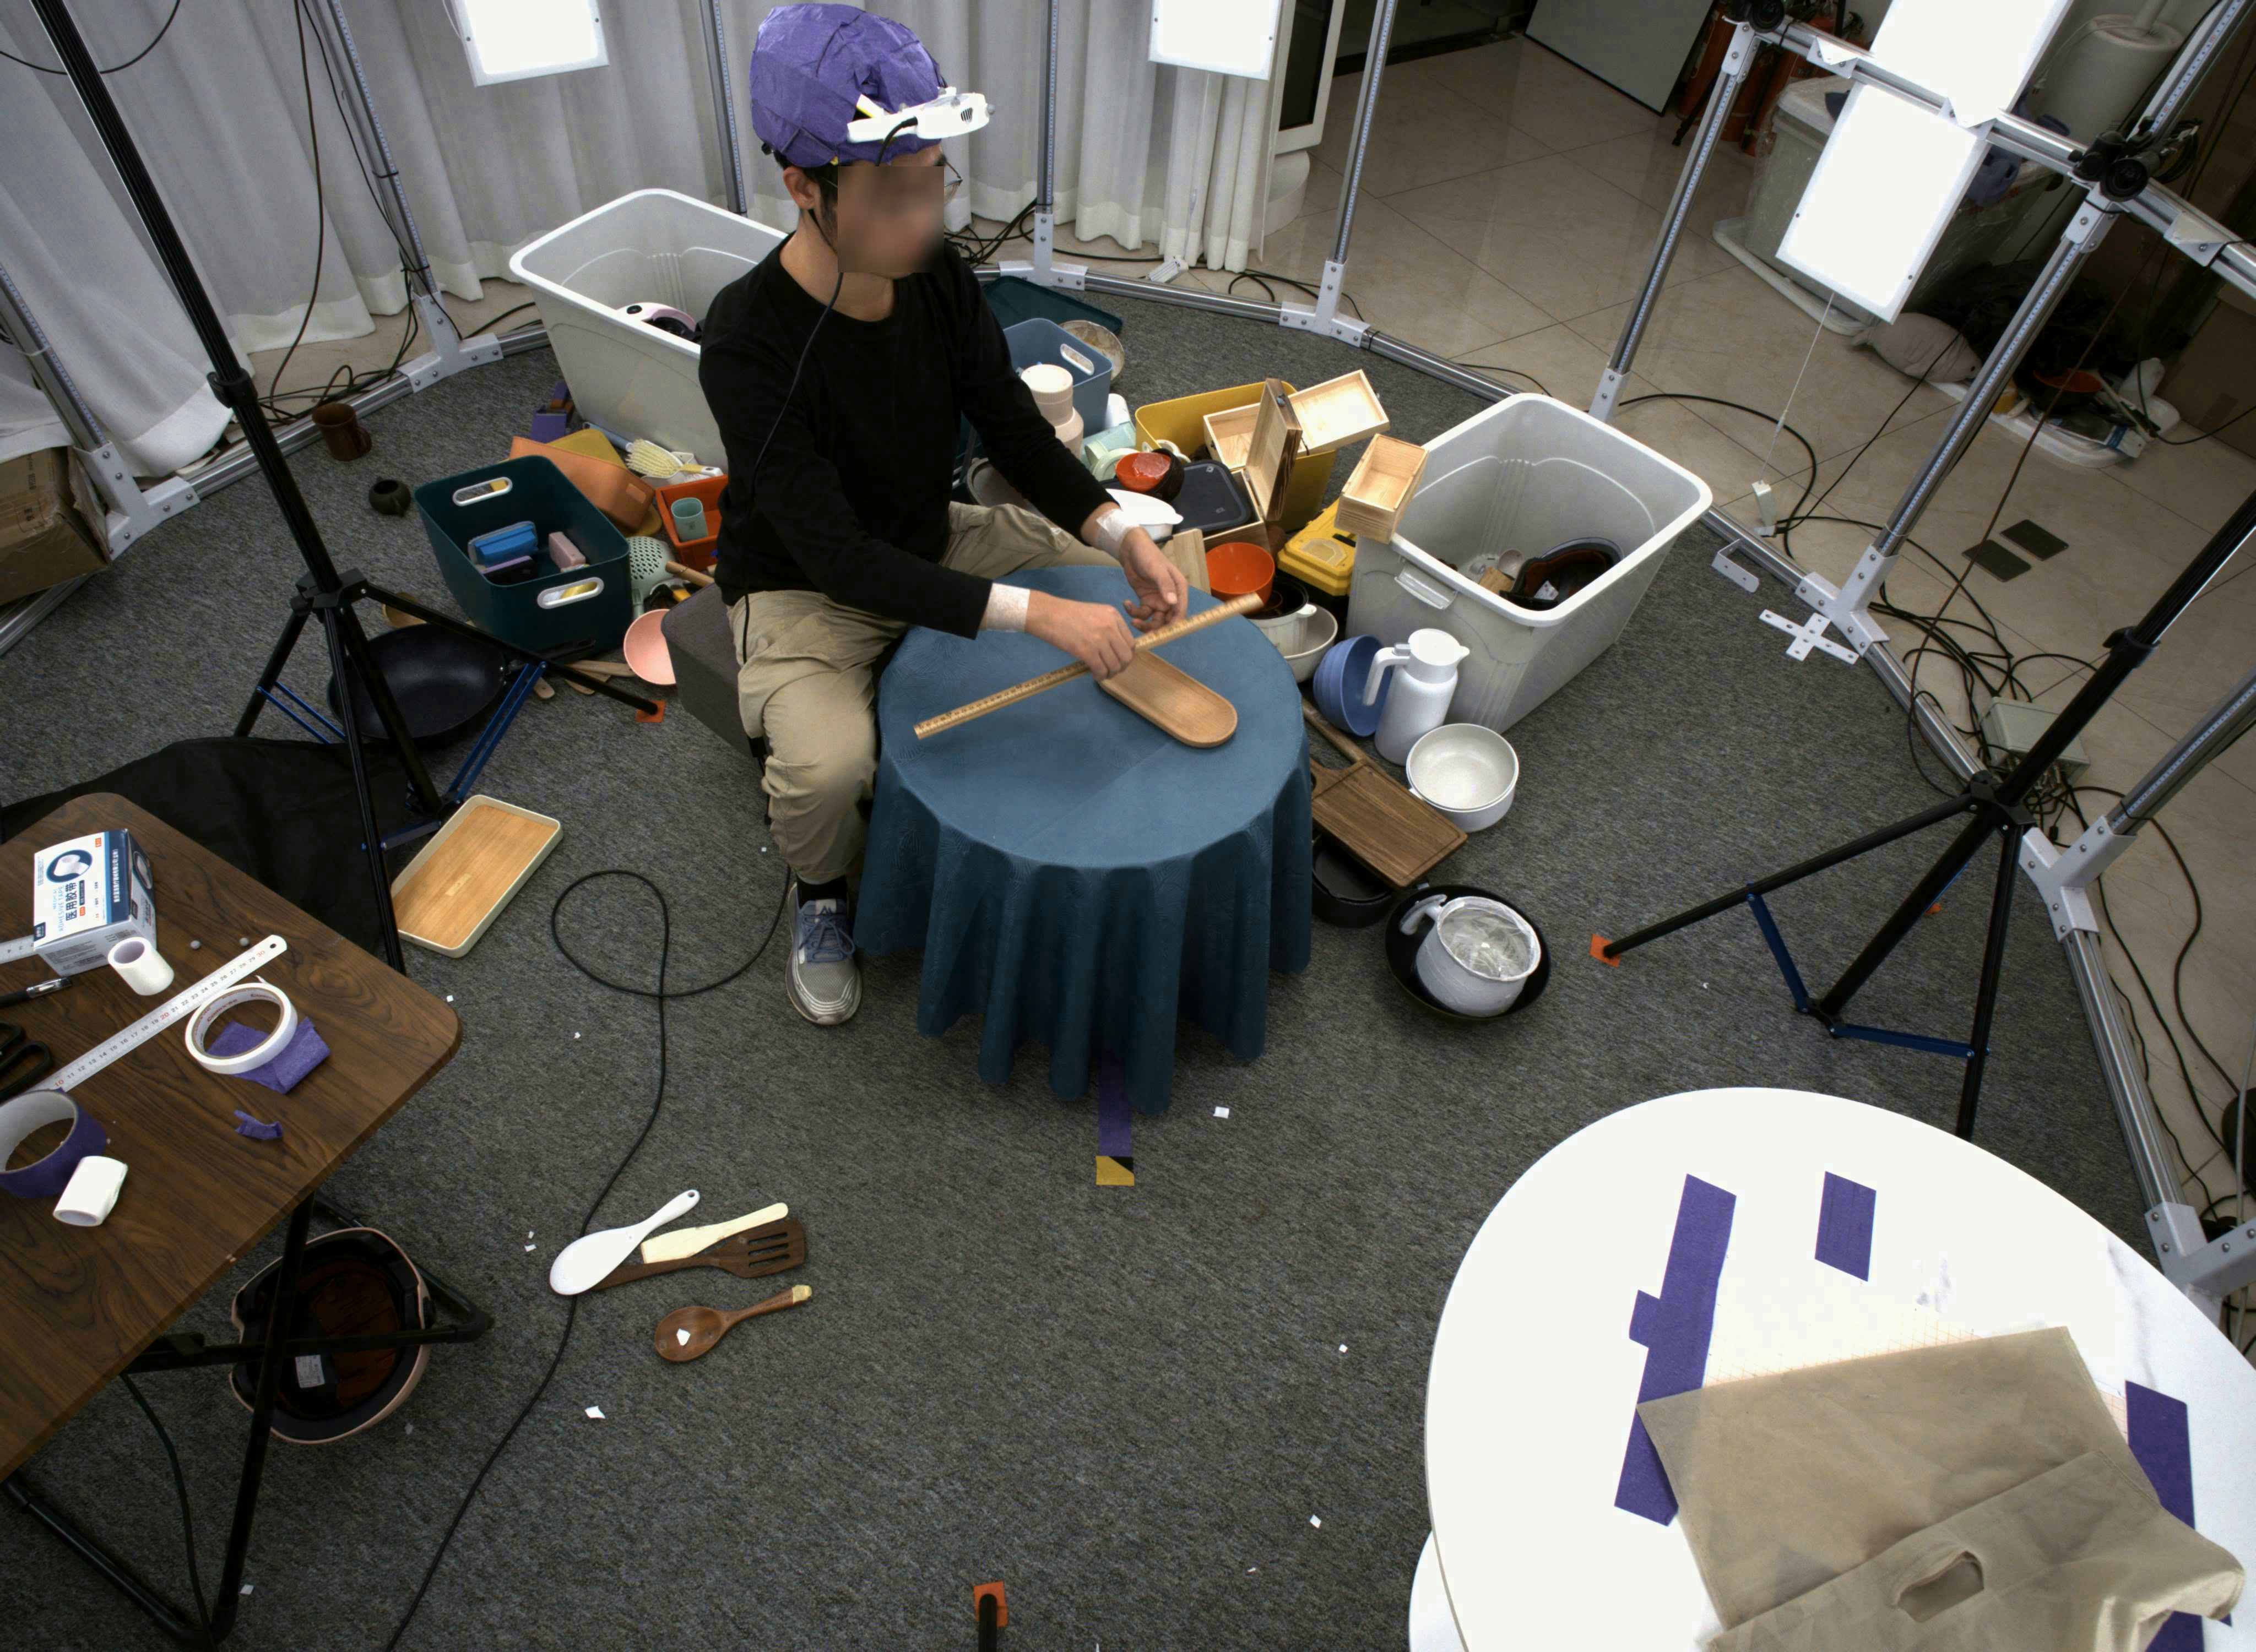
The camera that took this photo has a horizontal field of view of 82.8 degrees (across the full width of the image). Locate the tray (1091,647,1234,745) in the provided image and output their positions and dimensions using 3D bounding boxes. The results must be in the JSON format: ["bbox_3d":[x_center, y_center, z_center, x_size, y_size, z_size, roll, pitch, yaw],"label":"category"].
[{"bbox_3d":[0.048,-0.186,1.824,0.234,0.020,0.103,32,53,24],"label":"tray"}]

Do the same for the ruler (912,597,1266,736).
[{"bbox_3d":[-0.050,-0.216,1.721,0.501,0.006,0.027,-21,47,-6],"label":"ruler"}]
